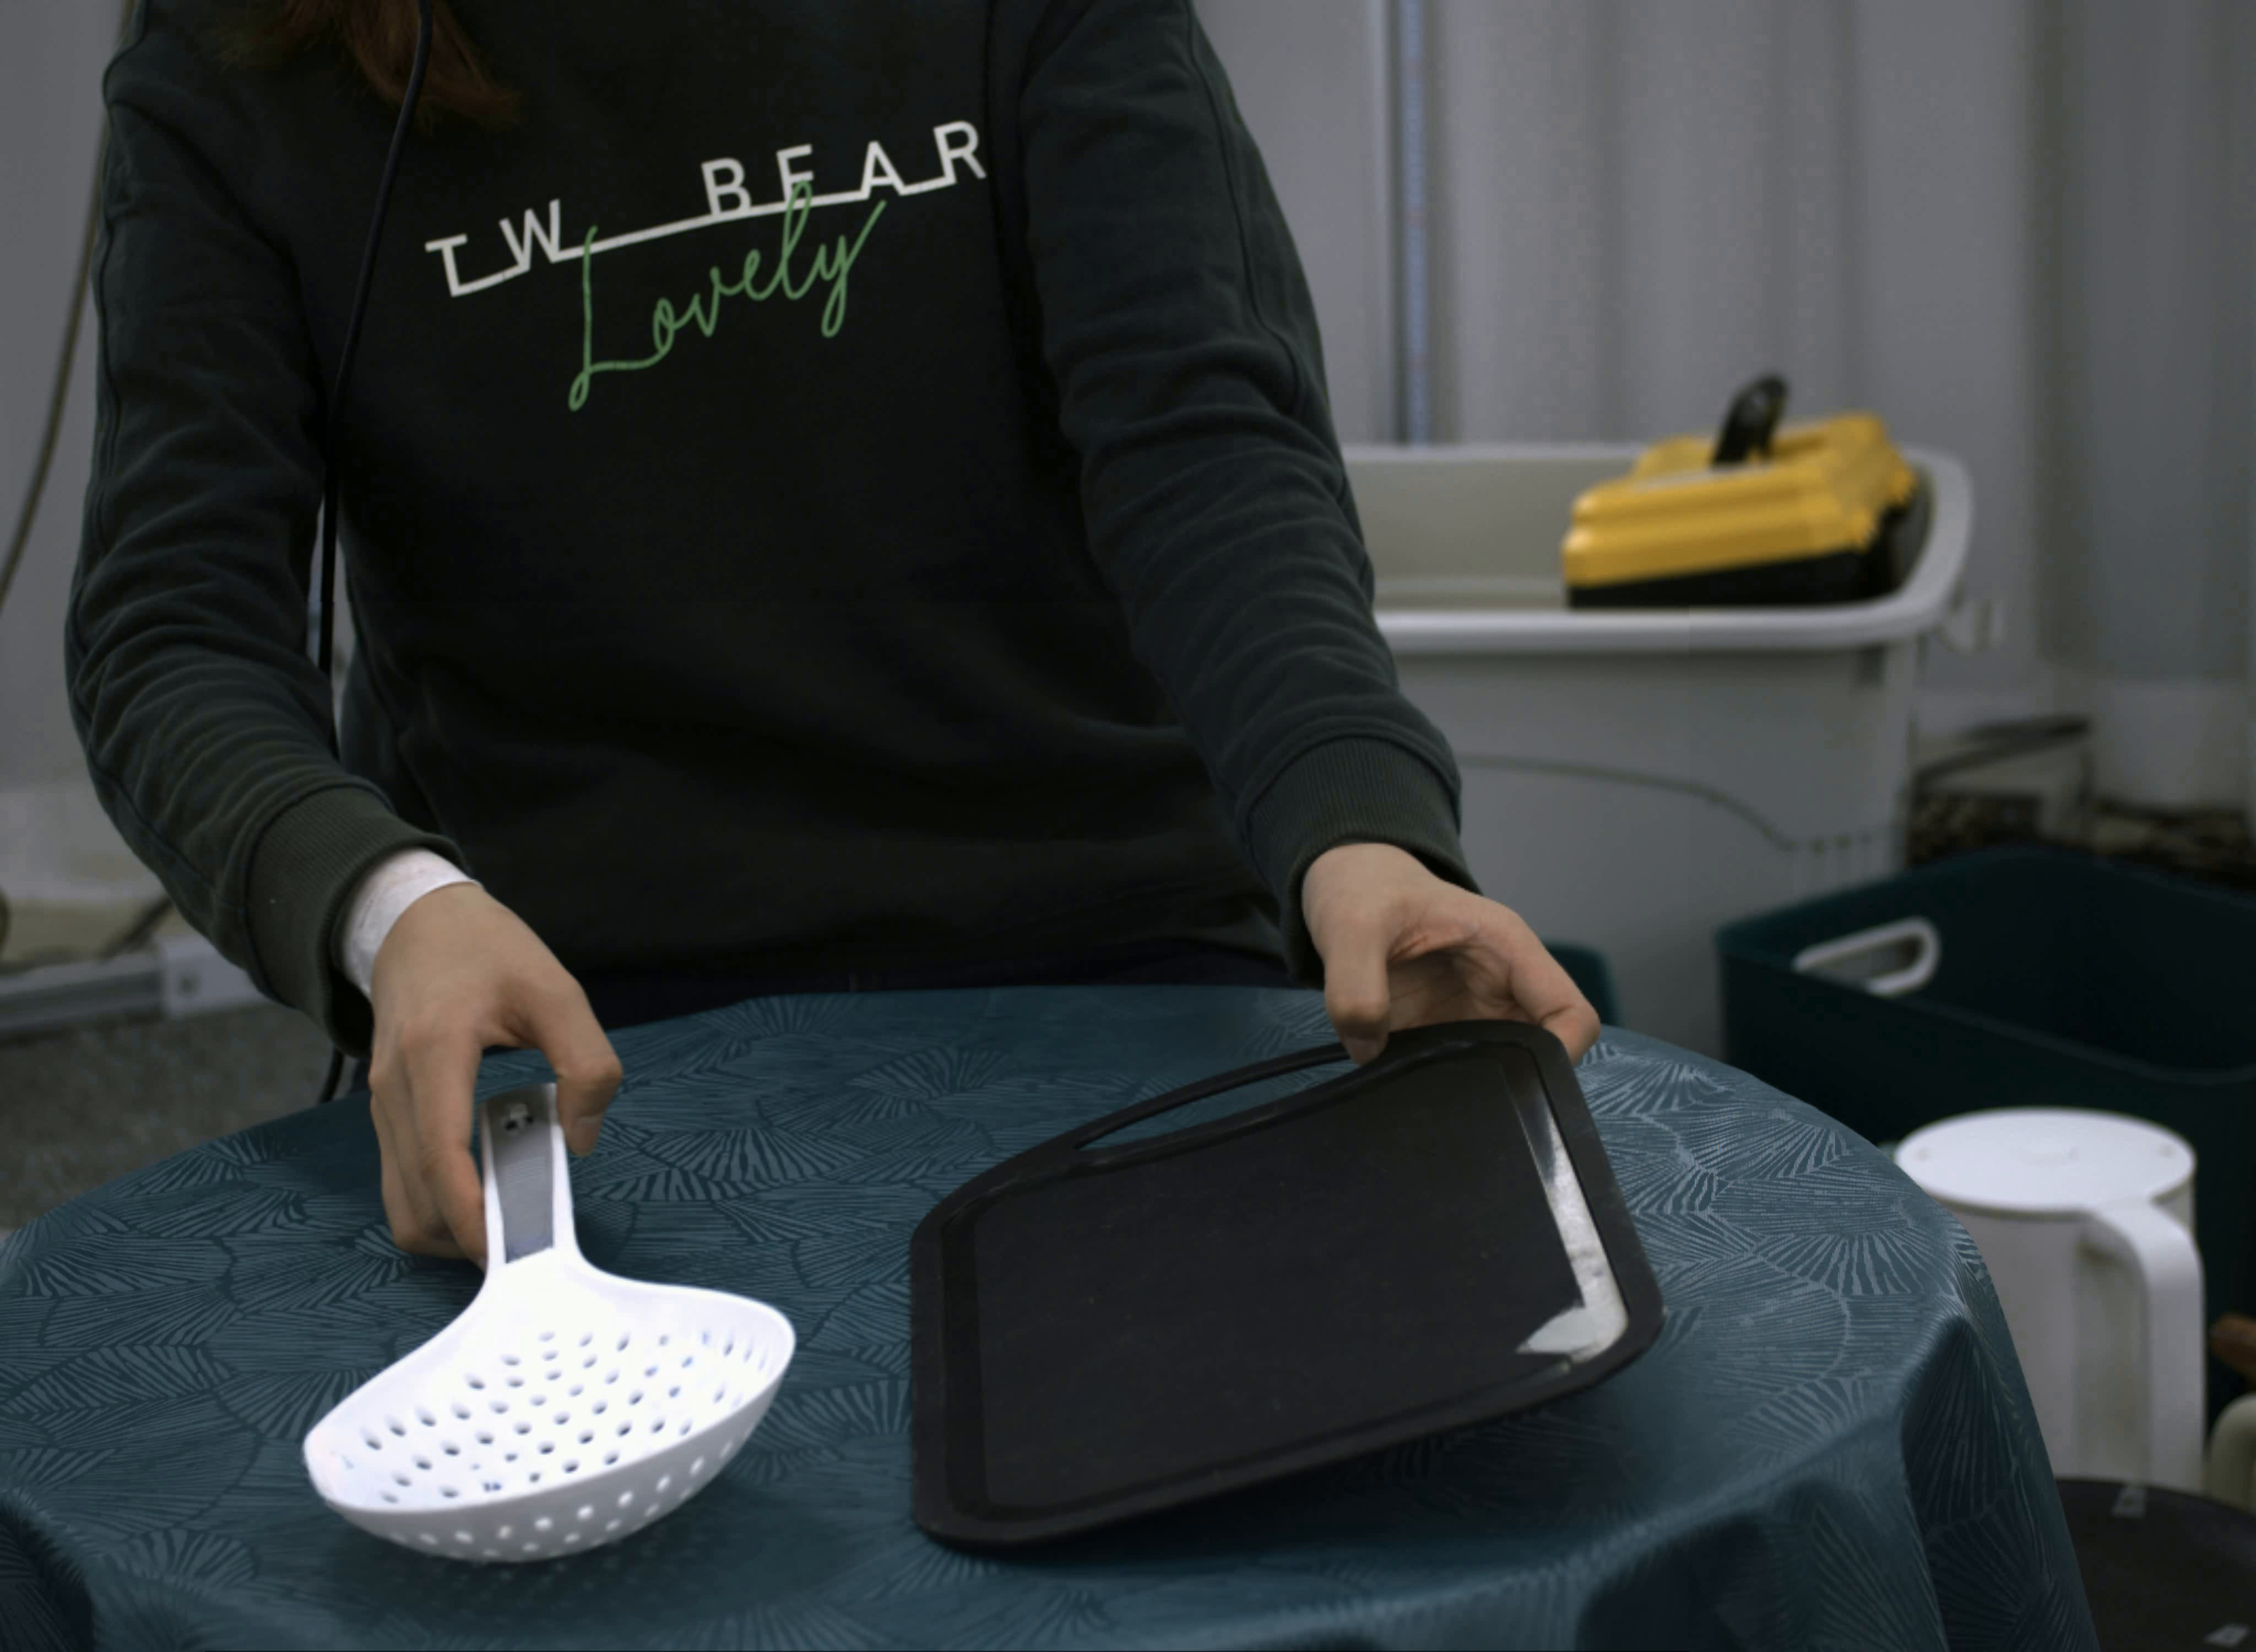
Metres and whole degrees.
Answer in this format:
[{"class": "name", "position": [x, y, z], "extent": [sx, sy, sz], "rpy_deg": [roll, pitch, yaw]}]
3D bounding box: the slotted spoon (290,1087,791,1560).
[{"class": "slotted spoon", "position": [-0.167, 0.132, 1.556], "extent": [0.135, 0.045, 0.353], "rpy_deg": [-13, 20, -4]}]

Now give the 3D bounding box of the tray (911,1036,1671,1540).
[{"class": "tray", "position": [0.038, 0.124, 1.571], "extent": [0.210, 0.010, 0.328], "rpy_deg": [-15, 15, 2]}]
